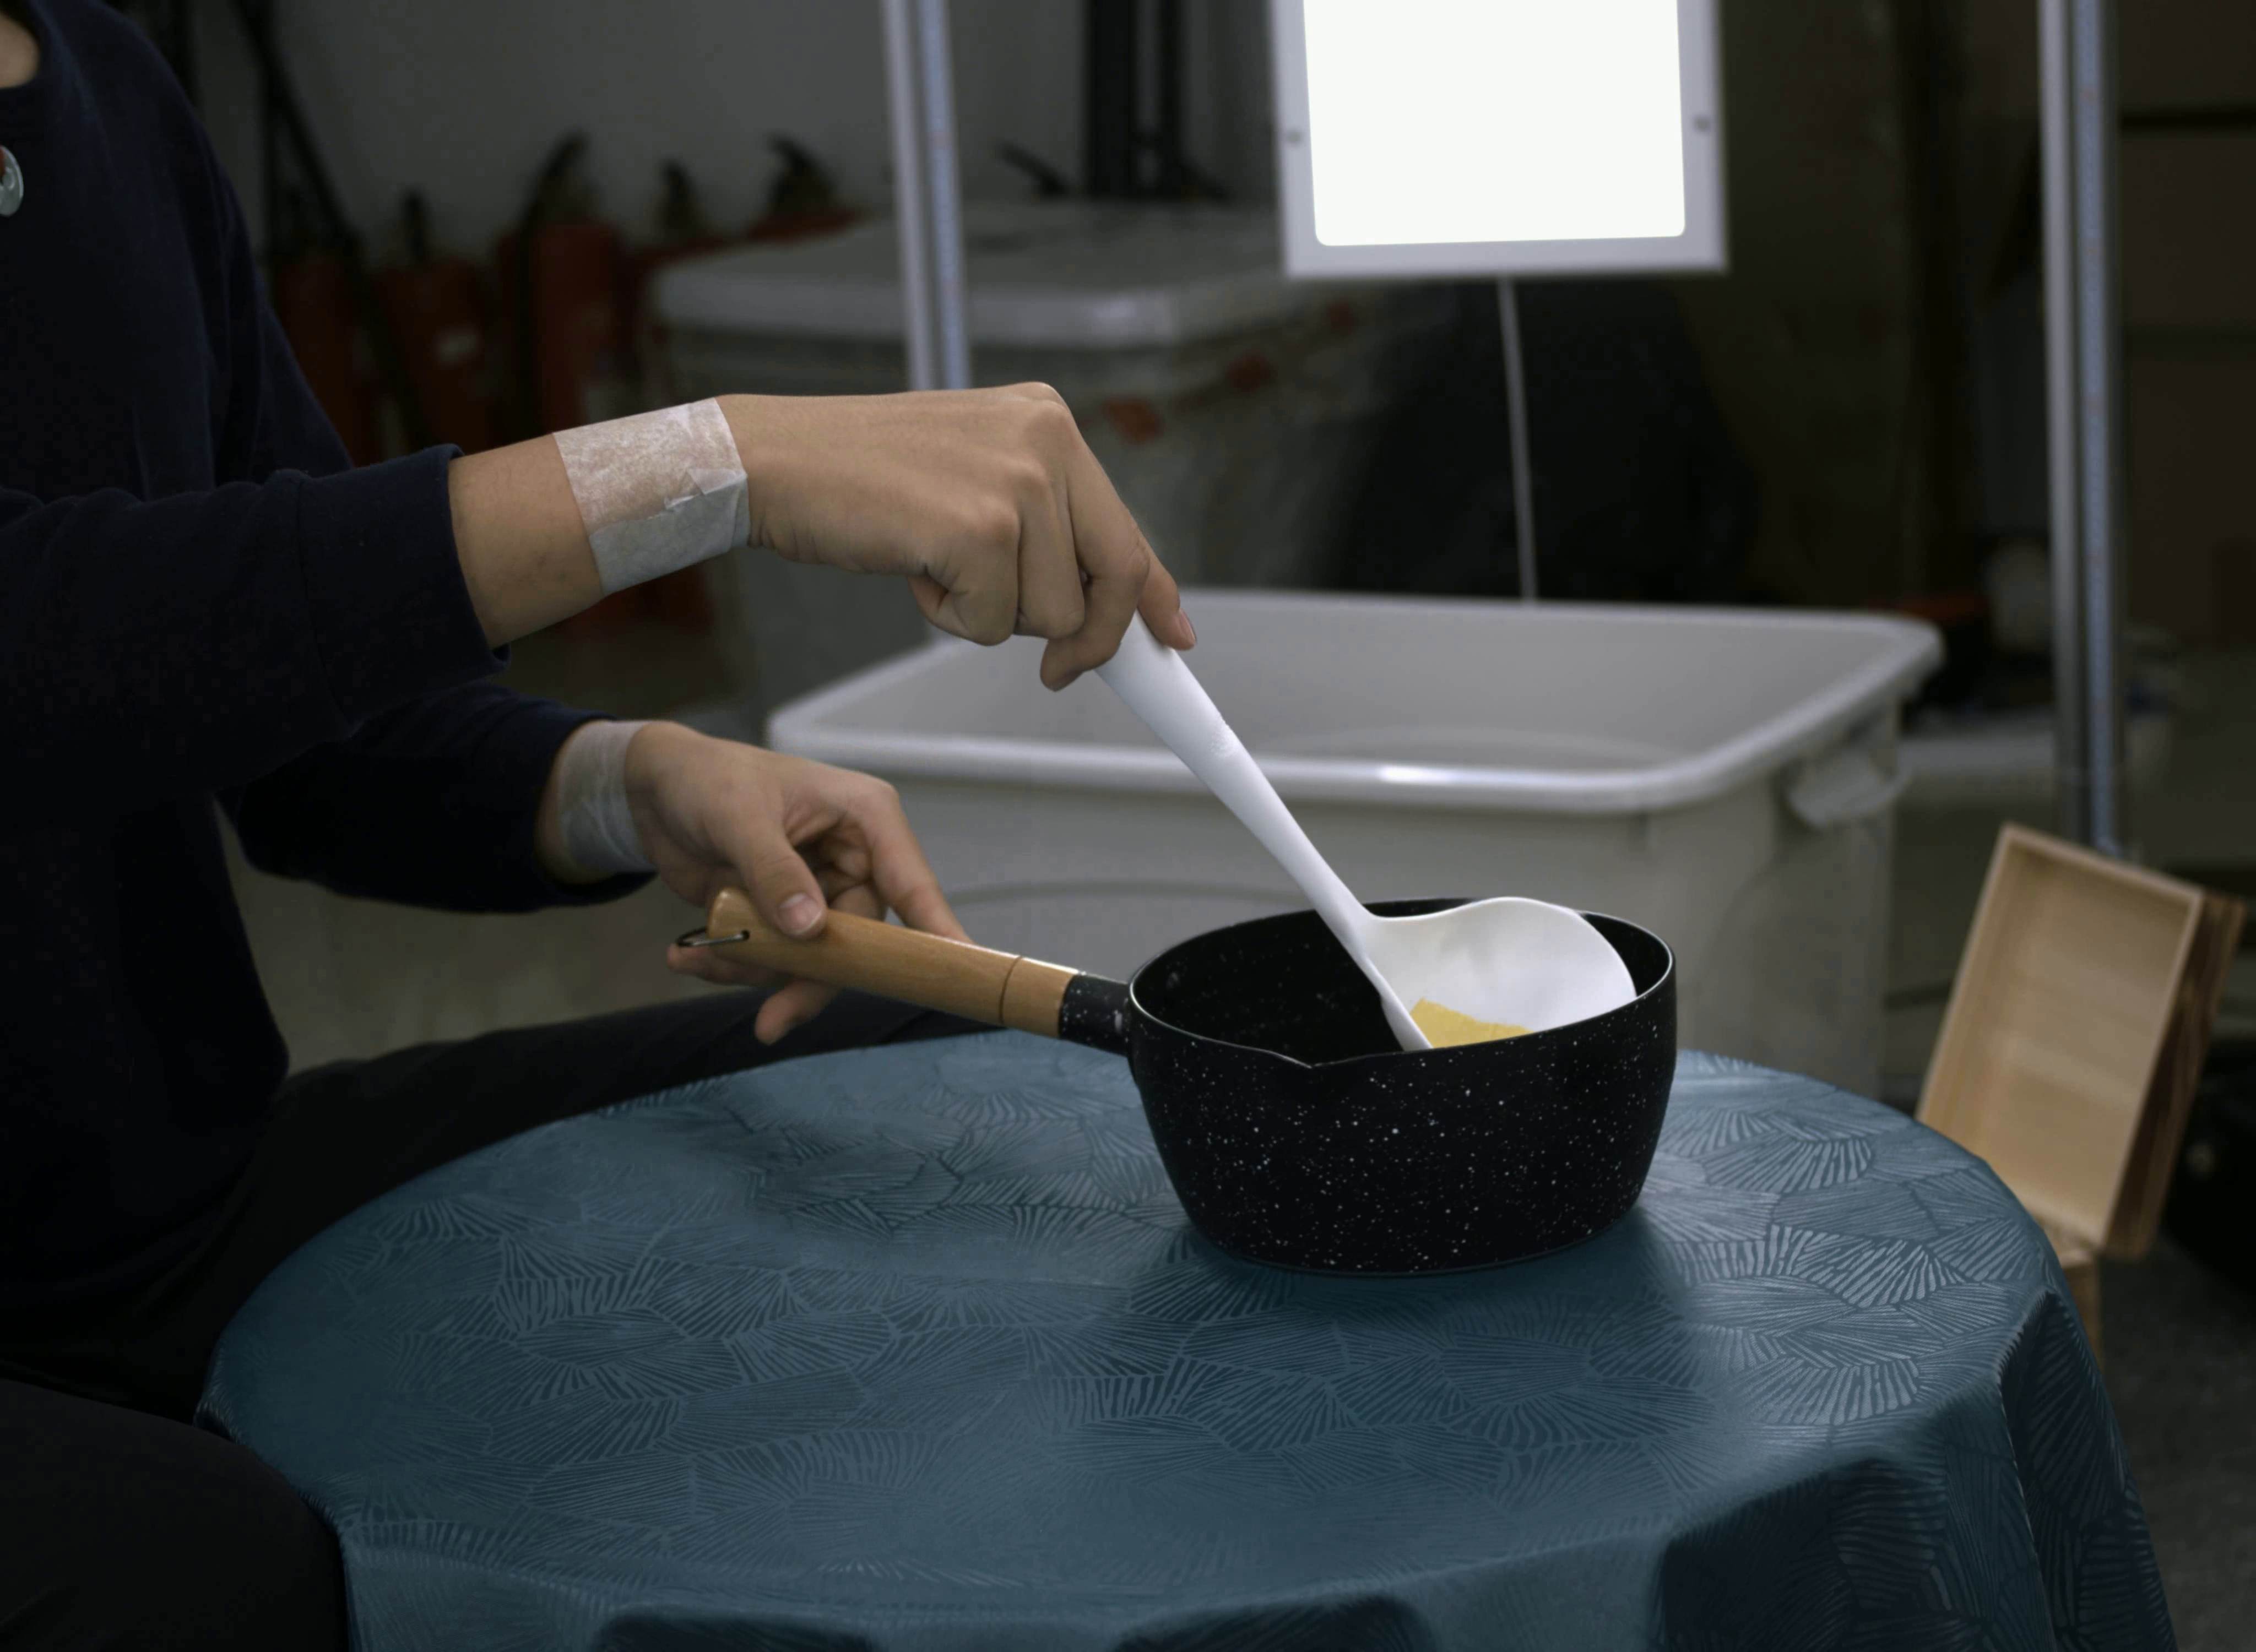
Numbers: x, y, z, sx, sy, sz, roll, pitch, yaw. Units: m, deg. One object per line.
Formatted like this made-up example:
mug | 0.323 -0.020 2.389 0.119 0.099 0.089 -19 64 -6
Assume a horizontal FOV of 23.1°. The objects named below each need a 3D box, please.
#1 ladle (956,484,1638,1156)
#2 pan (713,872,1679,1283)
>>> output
ladle | 0.057 -0.004 1.731 0.071 0.289 0.089 -9 44 42
pan | 0.018 0.075 1.869 0.347 0.108 0.204 2 17 20
